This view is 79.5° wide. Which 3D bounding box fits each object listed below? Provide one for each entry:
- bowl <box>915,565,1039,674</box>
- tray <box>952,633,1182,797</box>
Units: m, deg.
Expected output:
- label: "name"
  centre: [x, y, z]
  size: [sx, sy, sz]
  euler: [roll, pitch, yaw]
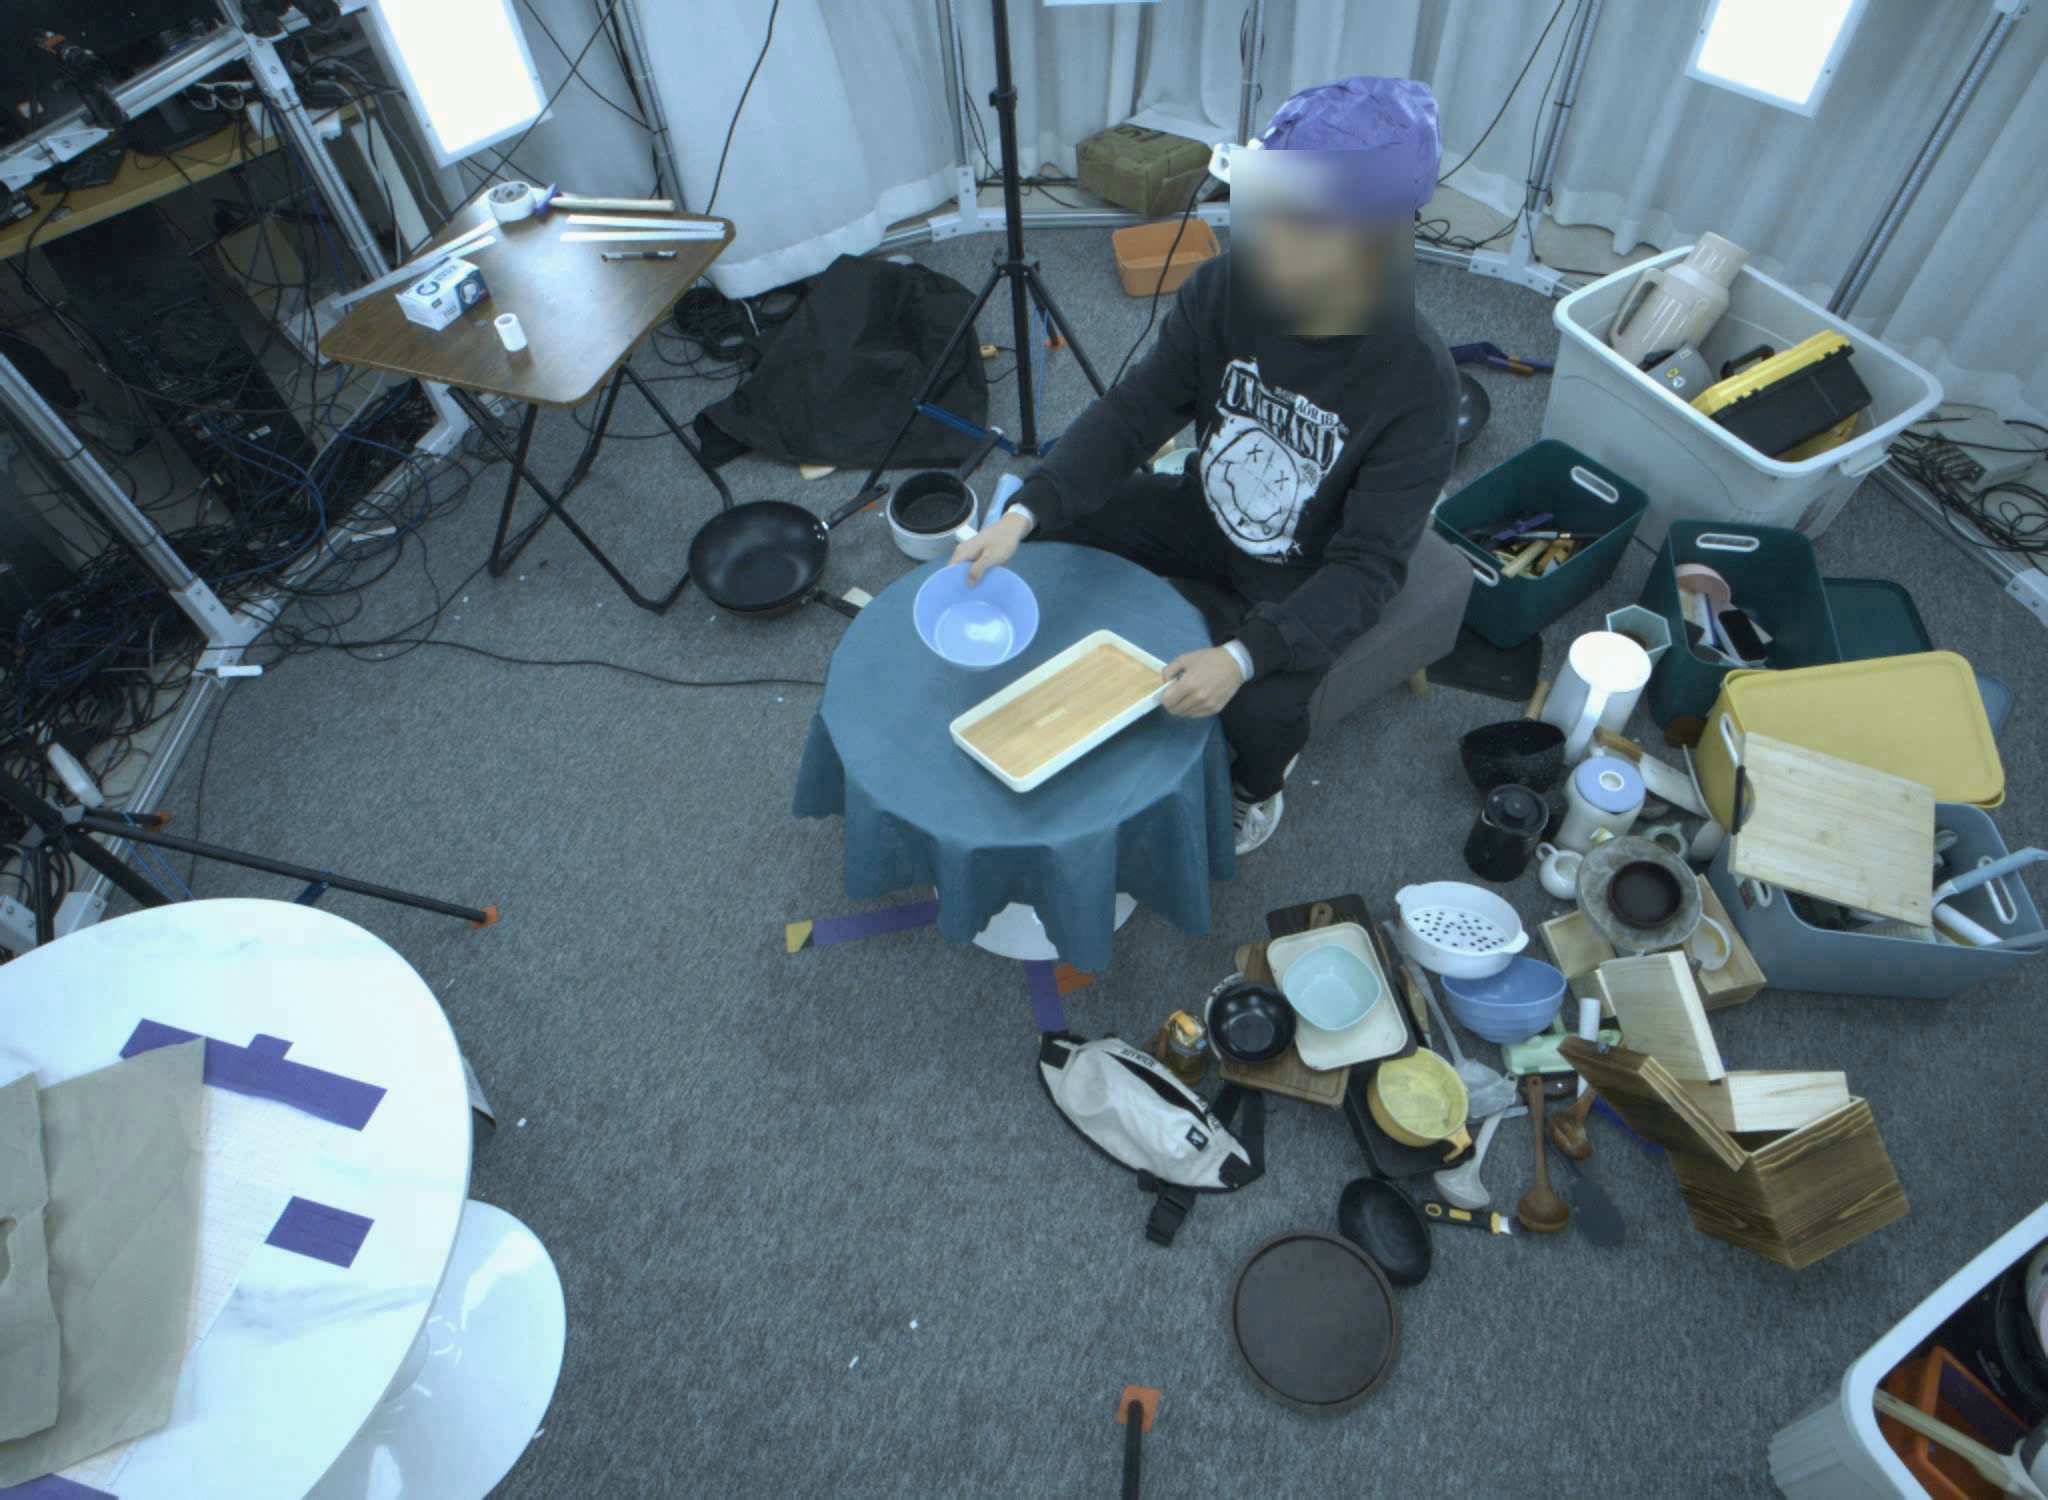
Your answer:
- label: "bowl"
  centre: [-0.068, -0.175, 1.765]
  size: [0.177, 0.070, 0.174]
  euler: [3, 65, -4]
- label: "tray"
  centre: [0.062, -0.057, 1.789]
  size: [0.302, 0.028, 0.187]
  euler: [-34, 44, -19]
